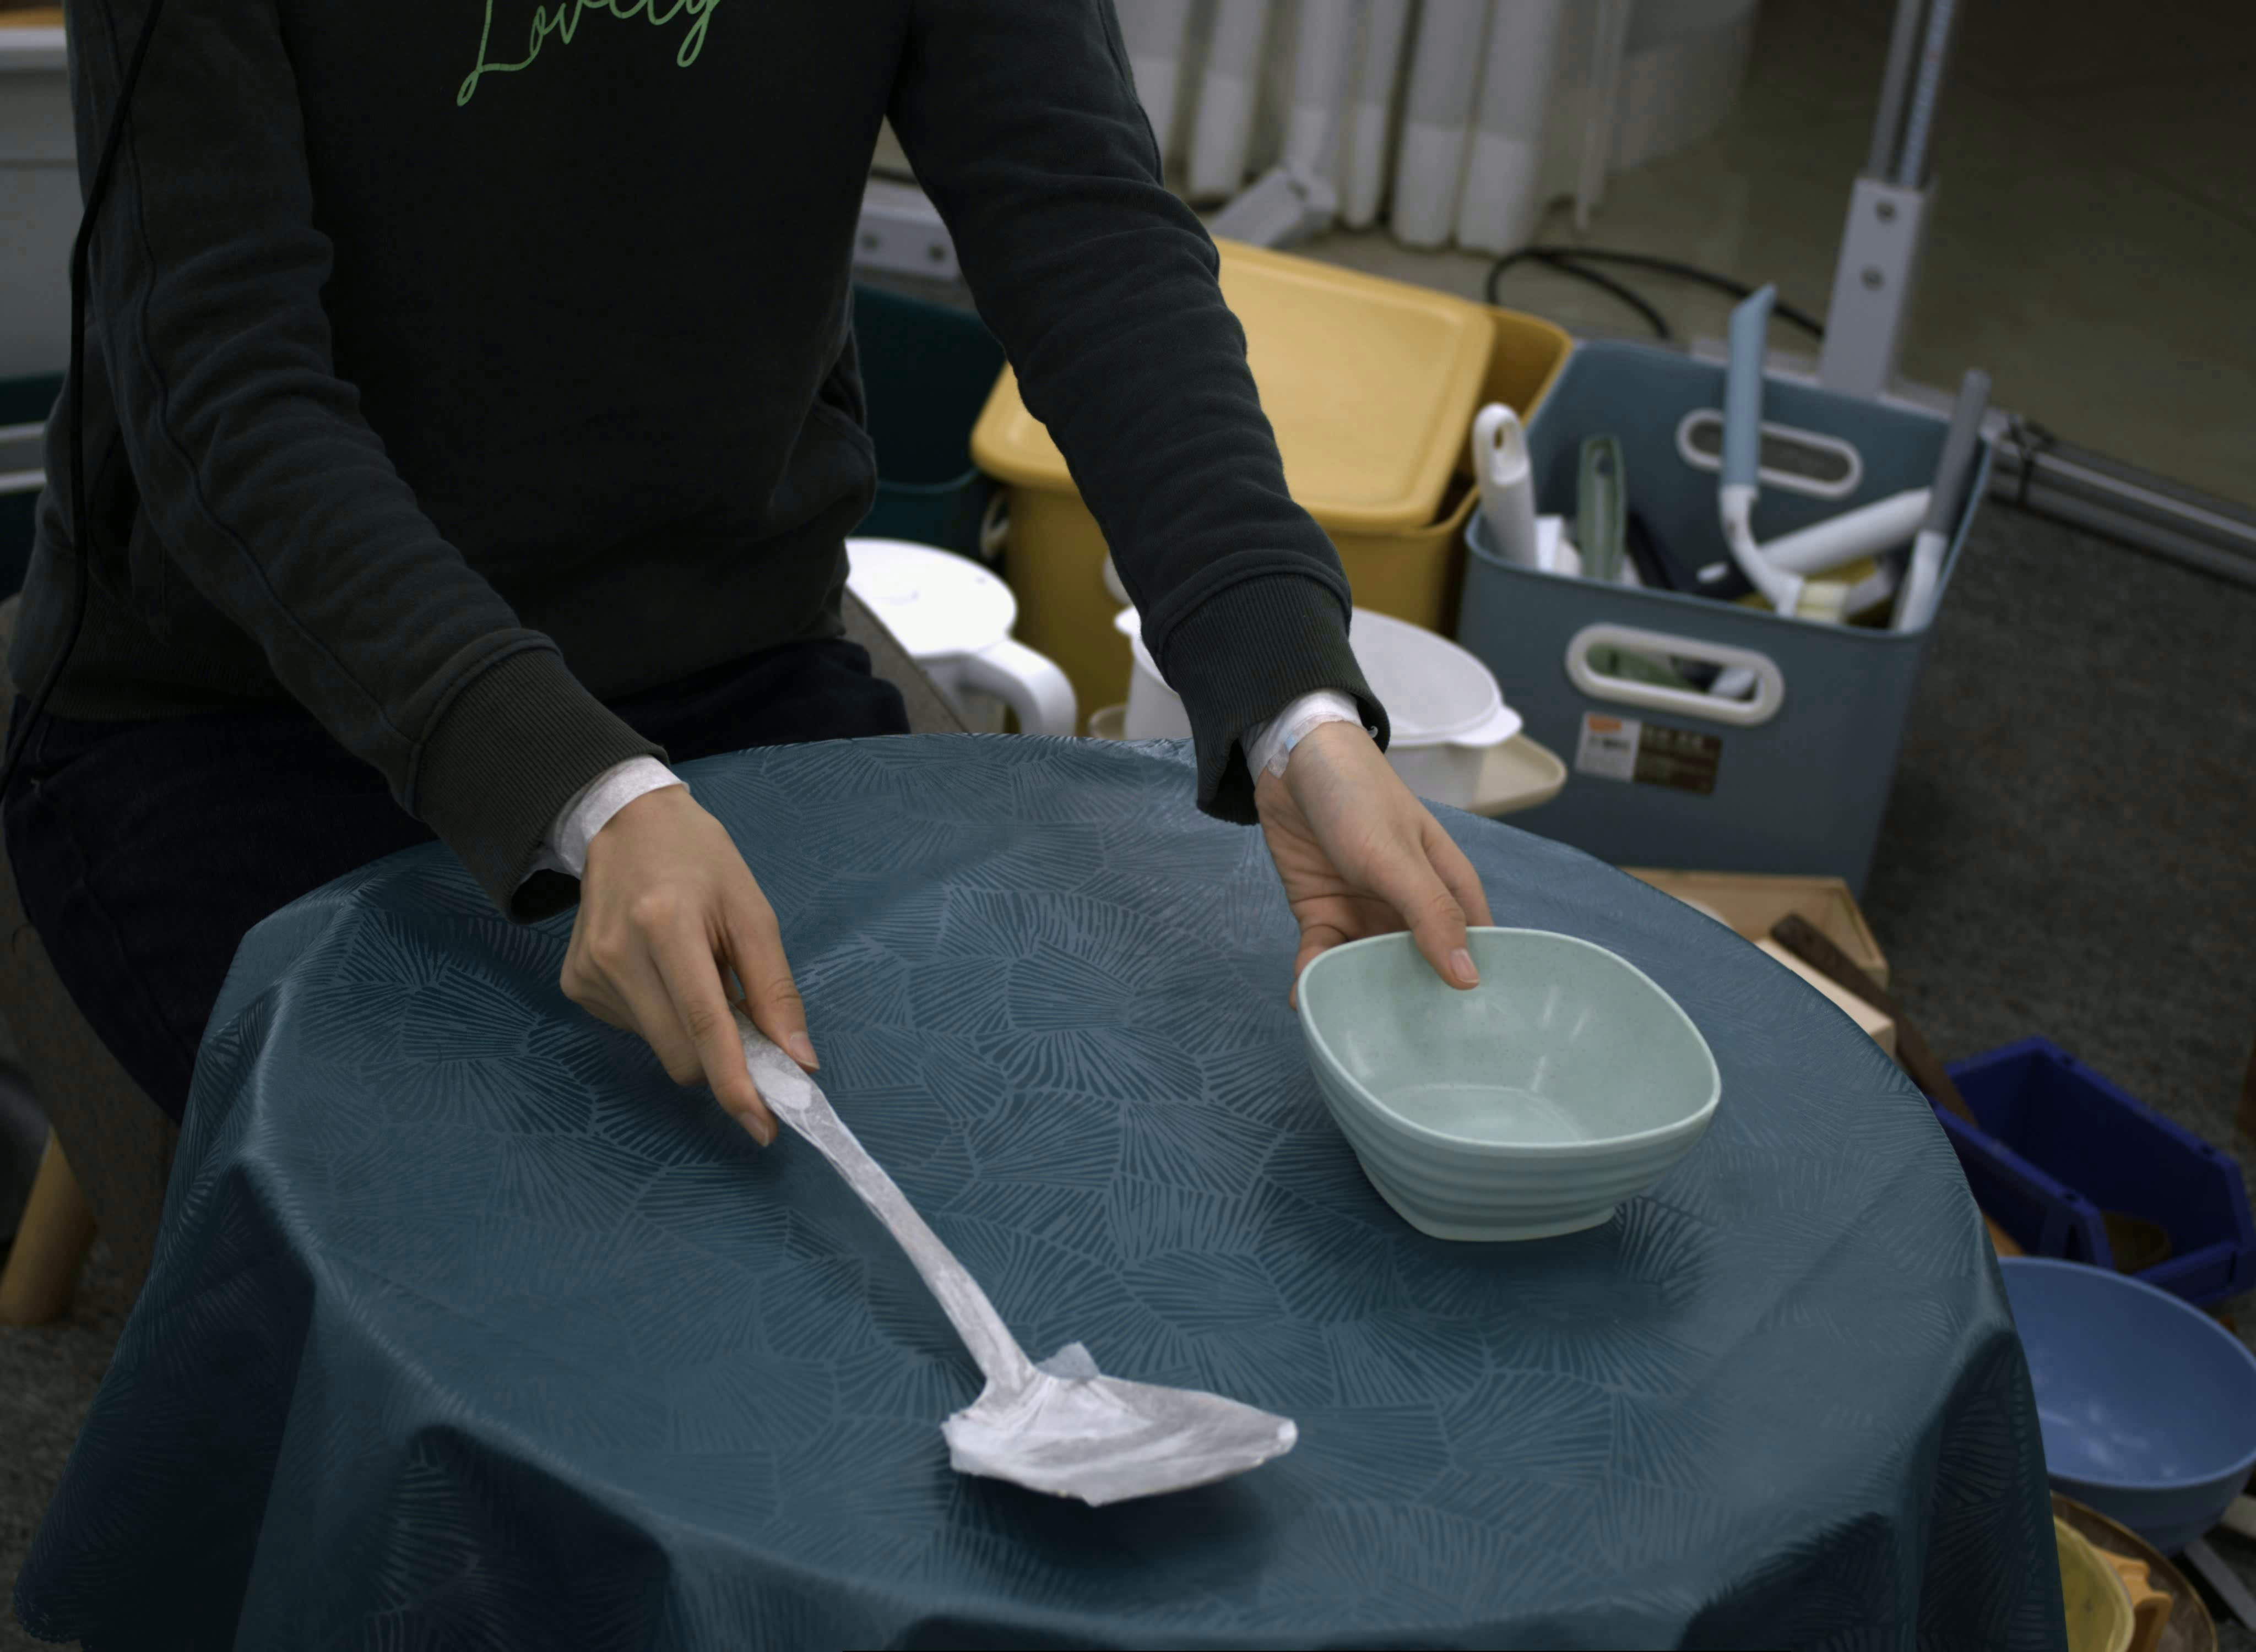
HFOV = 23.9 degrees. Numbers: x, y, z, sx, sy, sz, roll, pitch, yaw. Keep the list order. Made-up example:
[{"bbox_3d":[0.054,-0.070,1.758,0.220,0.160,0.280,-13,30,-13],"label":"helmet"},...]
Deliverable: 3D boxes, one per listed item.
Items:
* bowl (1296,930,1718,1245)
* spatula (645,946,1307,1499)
[{"bbox_3d":[0.124,0.096,1.819,0.151,0.058,0.152,9,28,-5],"label":"bowl"},{"bbox_3d":[-0.073,0.120,1.728,0.098,0.044,0.368,-11,37,-30],"label":"spatula"}]
